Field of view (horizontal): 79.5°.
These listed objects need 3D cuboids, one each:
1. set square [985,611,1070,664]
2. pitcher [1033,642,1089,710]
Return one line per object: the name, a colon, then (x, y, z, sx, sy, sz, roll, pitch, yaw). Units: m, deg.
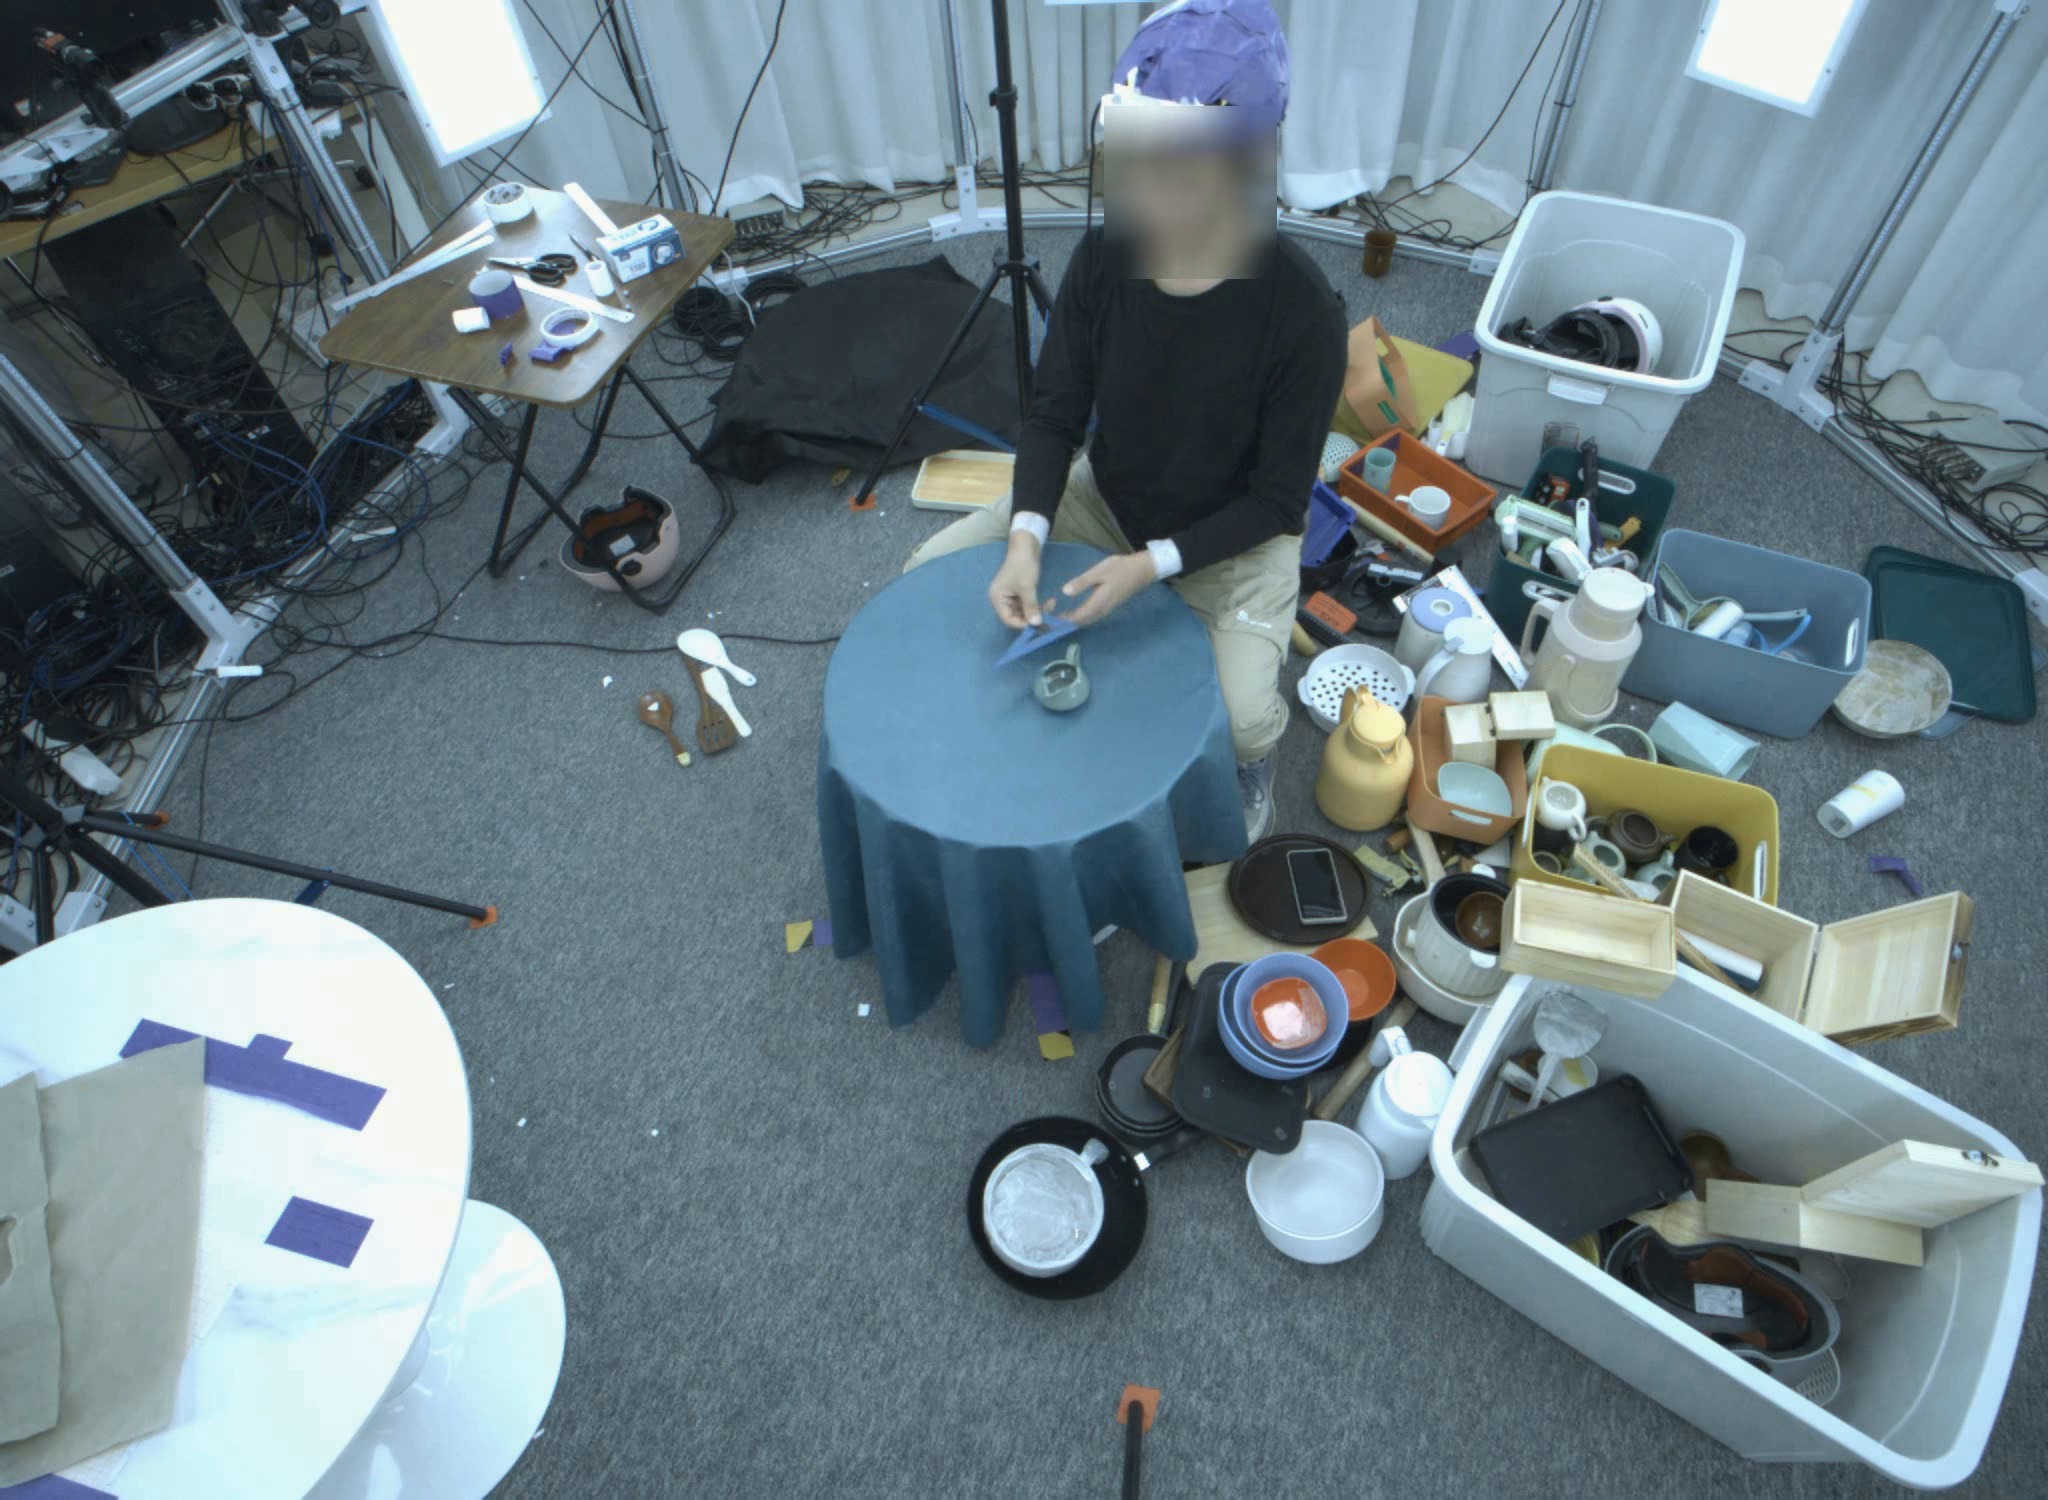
set square: (-0.003, -0.172, 1.818, 0.132, 0.006, 0.060, -23, 58, -4)
pitcher: (0.057, -0.107, 1.827, 0.083, 0.057, 0.112, 17, 57, 11)
